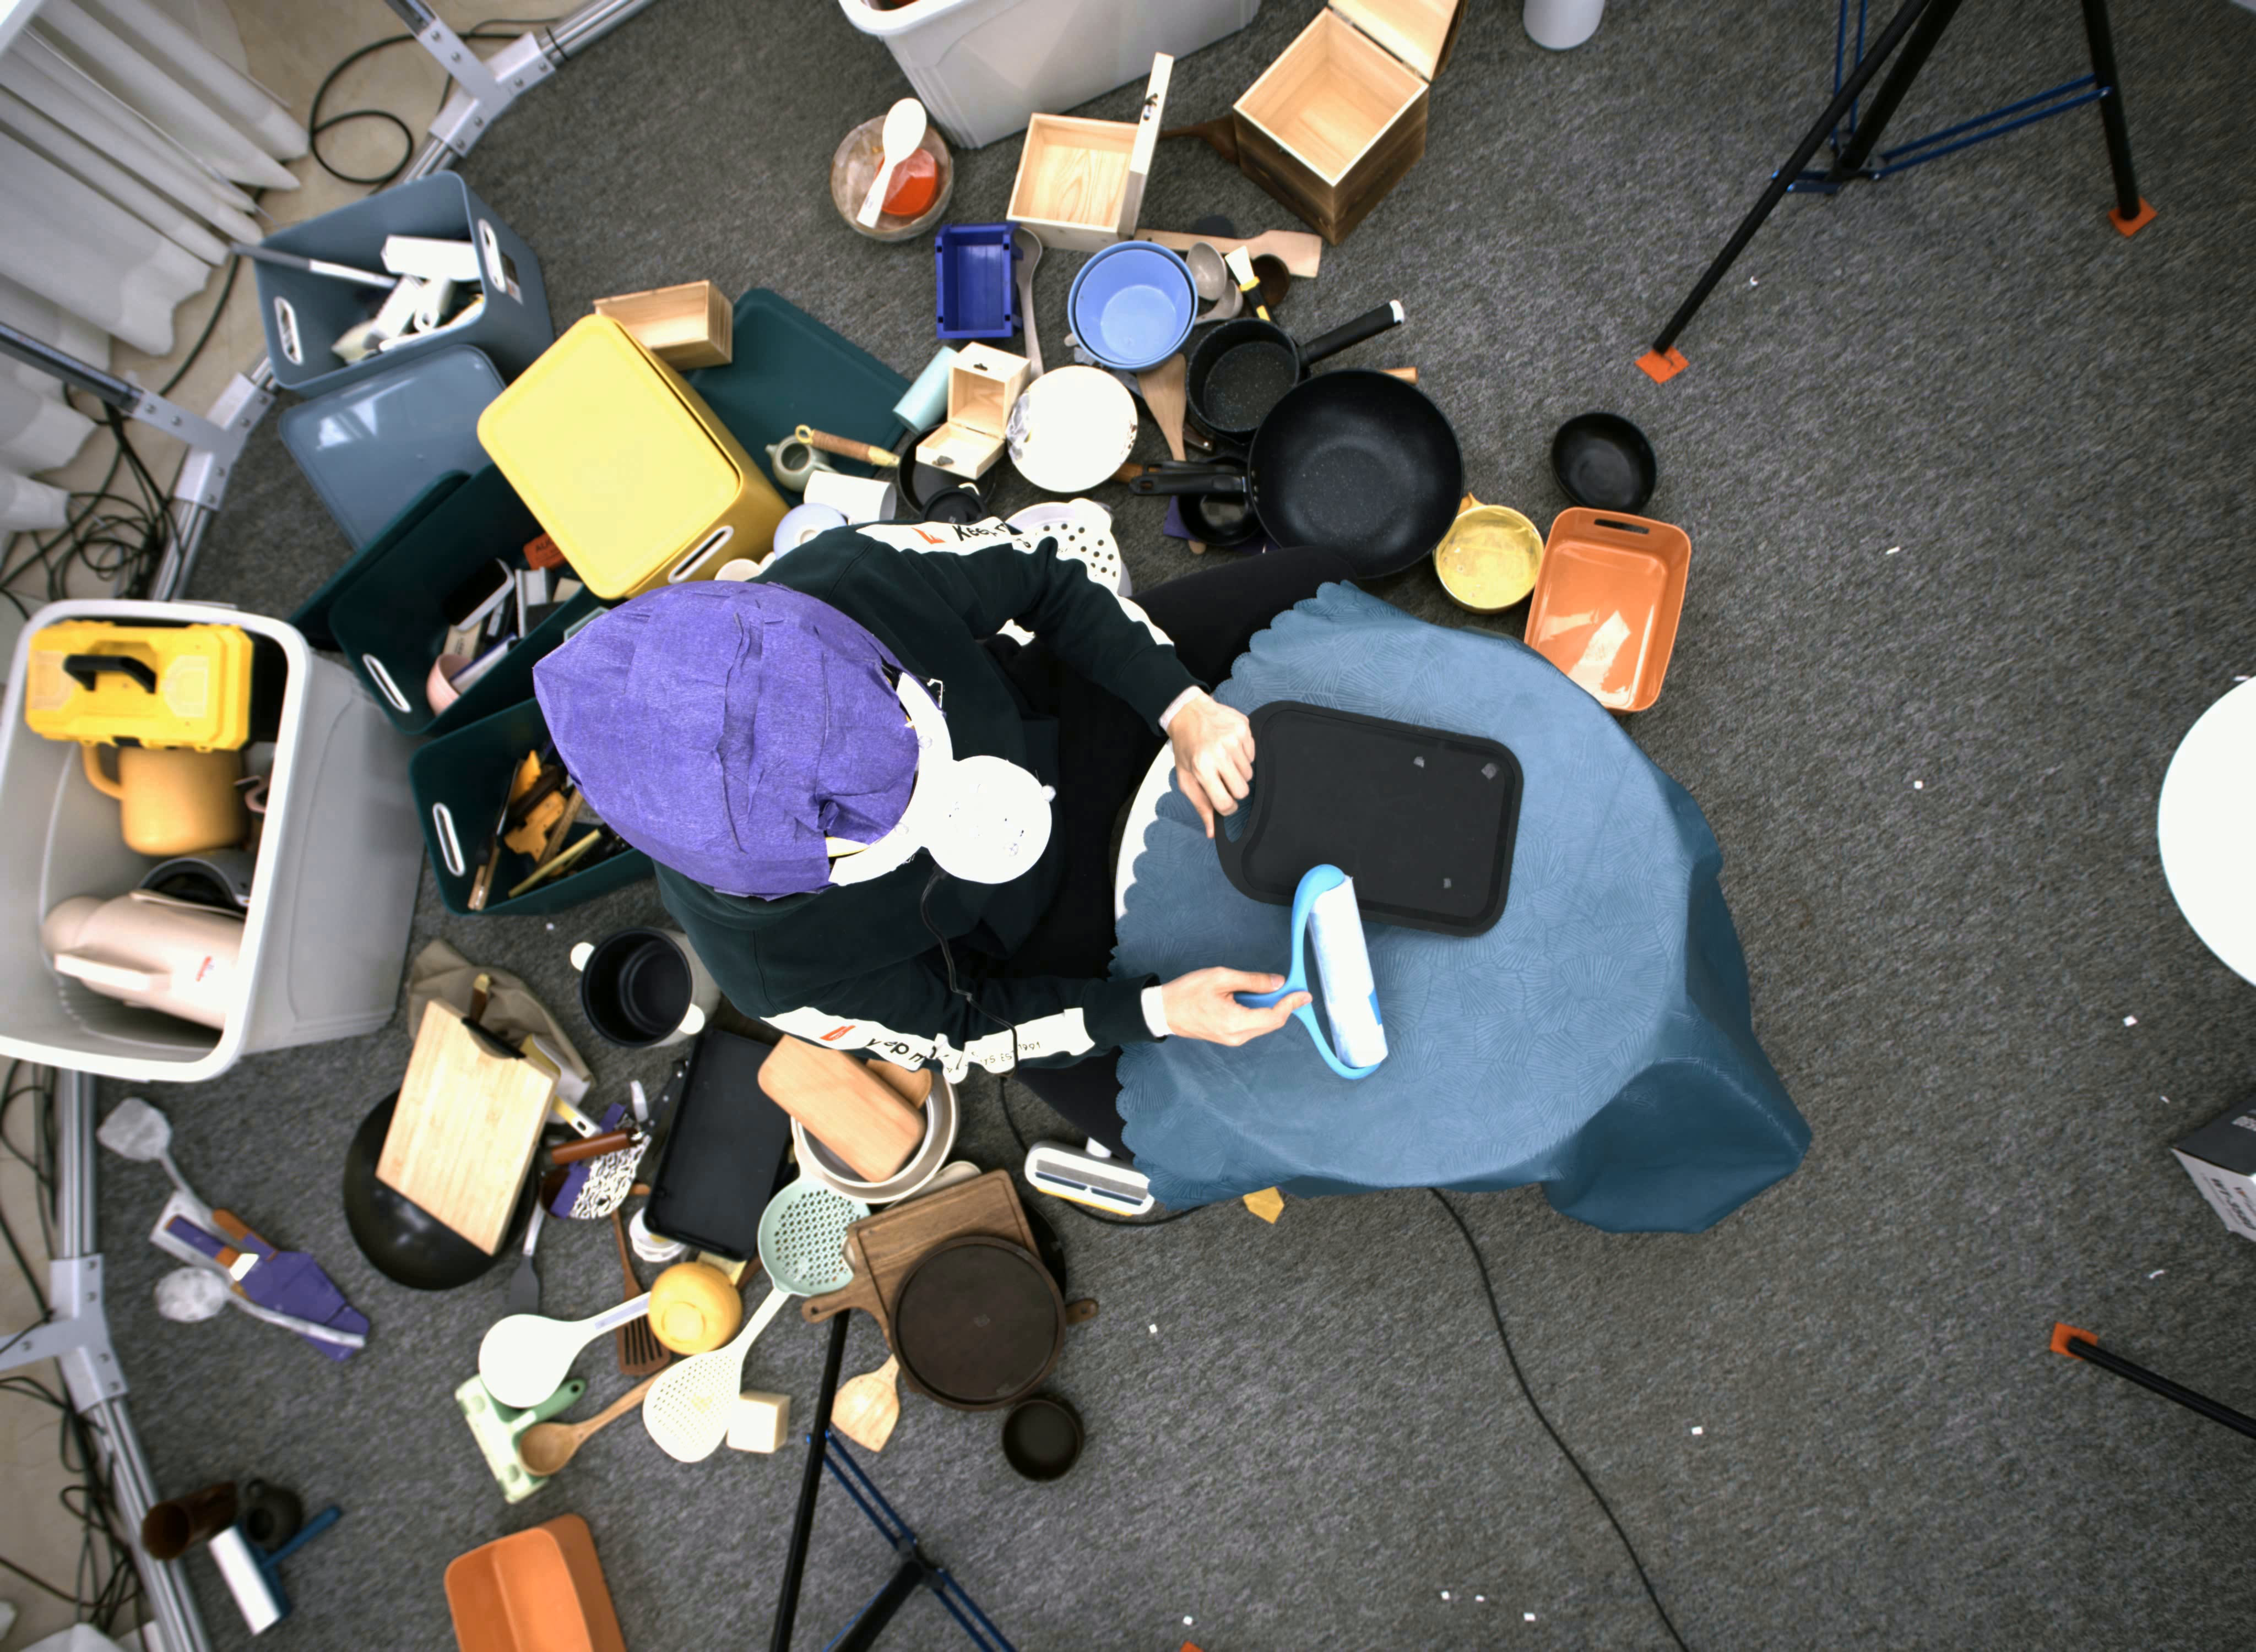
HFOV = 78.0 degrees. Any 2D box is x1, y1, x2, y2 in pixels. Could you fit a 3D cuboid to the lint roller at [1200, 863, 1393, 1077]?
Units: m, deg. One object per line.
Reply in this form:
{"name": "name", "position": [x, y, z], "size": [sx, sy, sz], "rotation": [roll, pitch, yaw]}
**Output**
{"name": "lint roller", "position": [0.164, 0.163, 1.395], "size": [0.180, 0.067, 0.232], "rotation": [-18, 108, 0]}

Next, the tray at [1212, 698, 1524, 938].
{"name": "tray", "position": [0.245, -0.010, 1.410], "size": [0.325, 0.010, 0.210], "rotation": [10, 88, -8]}
